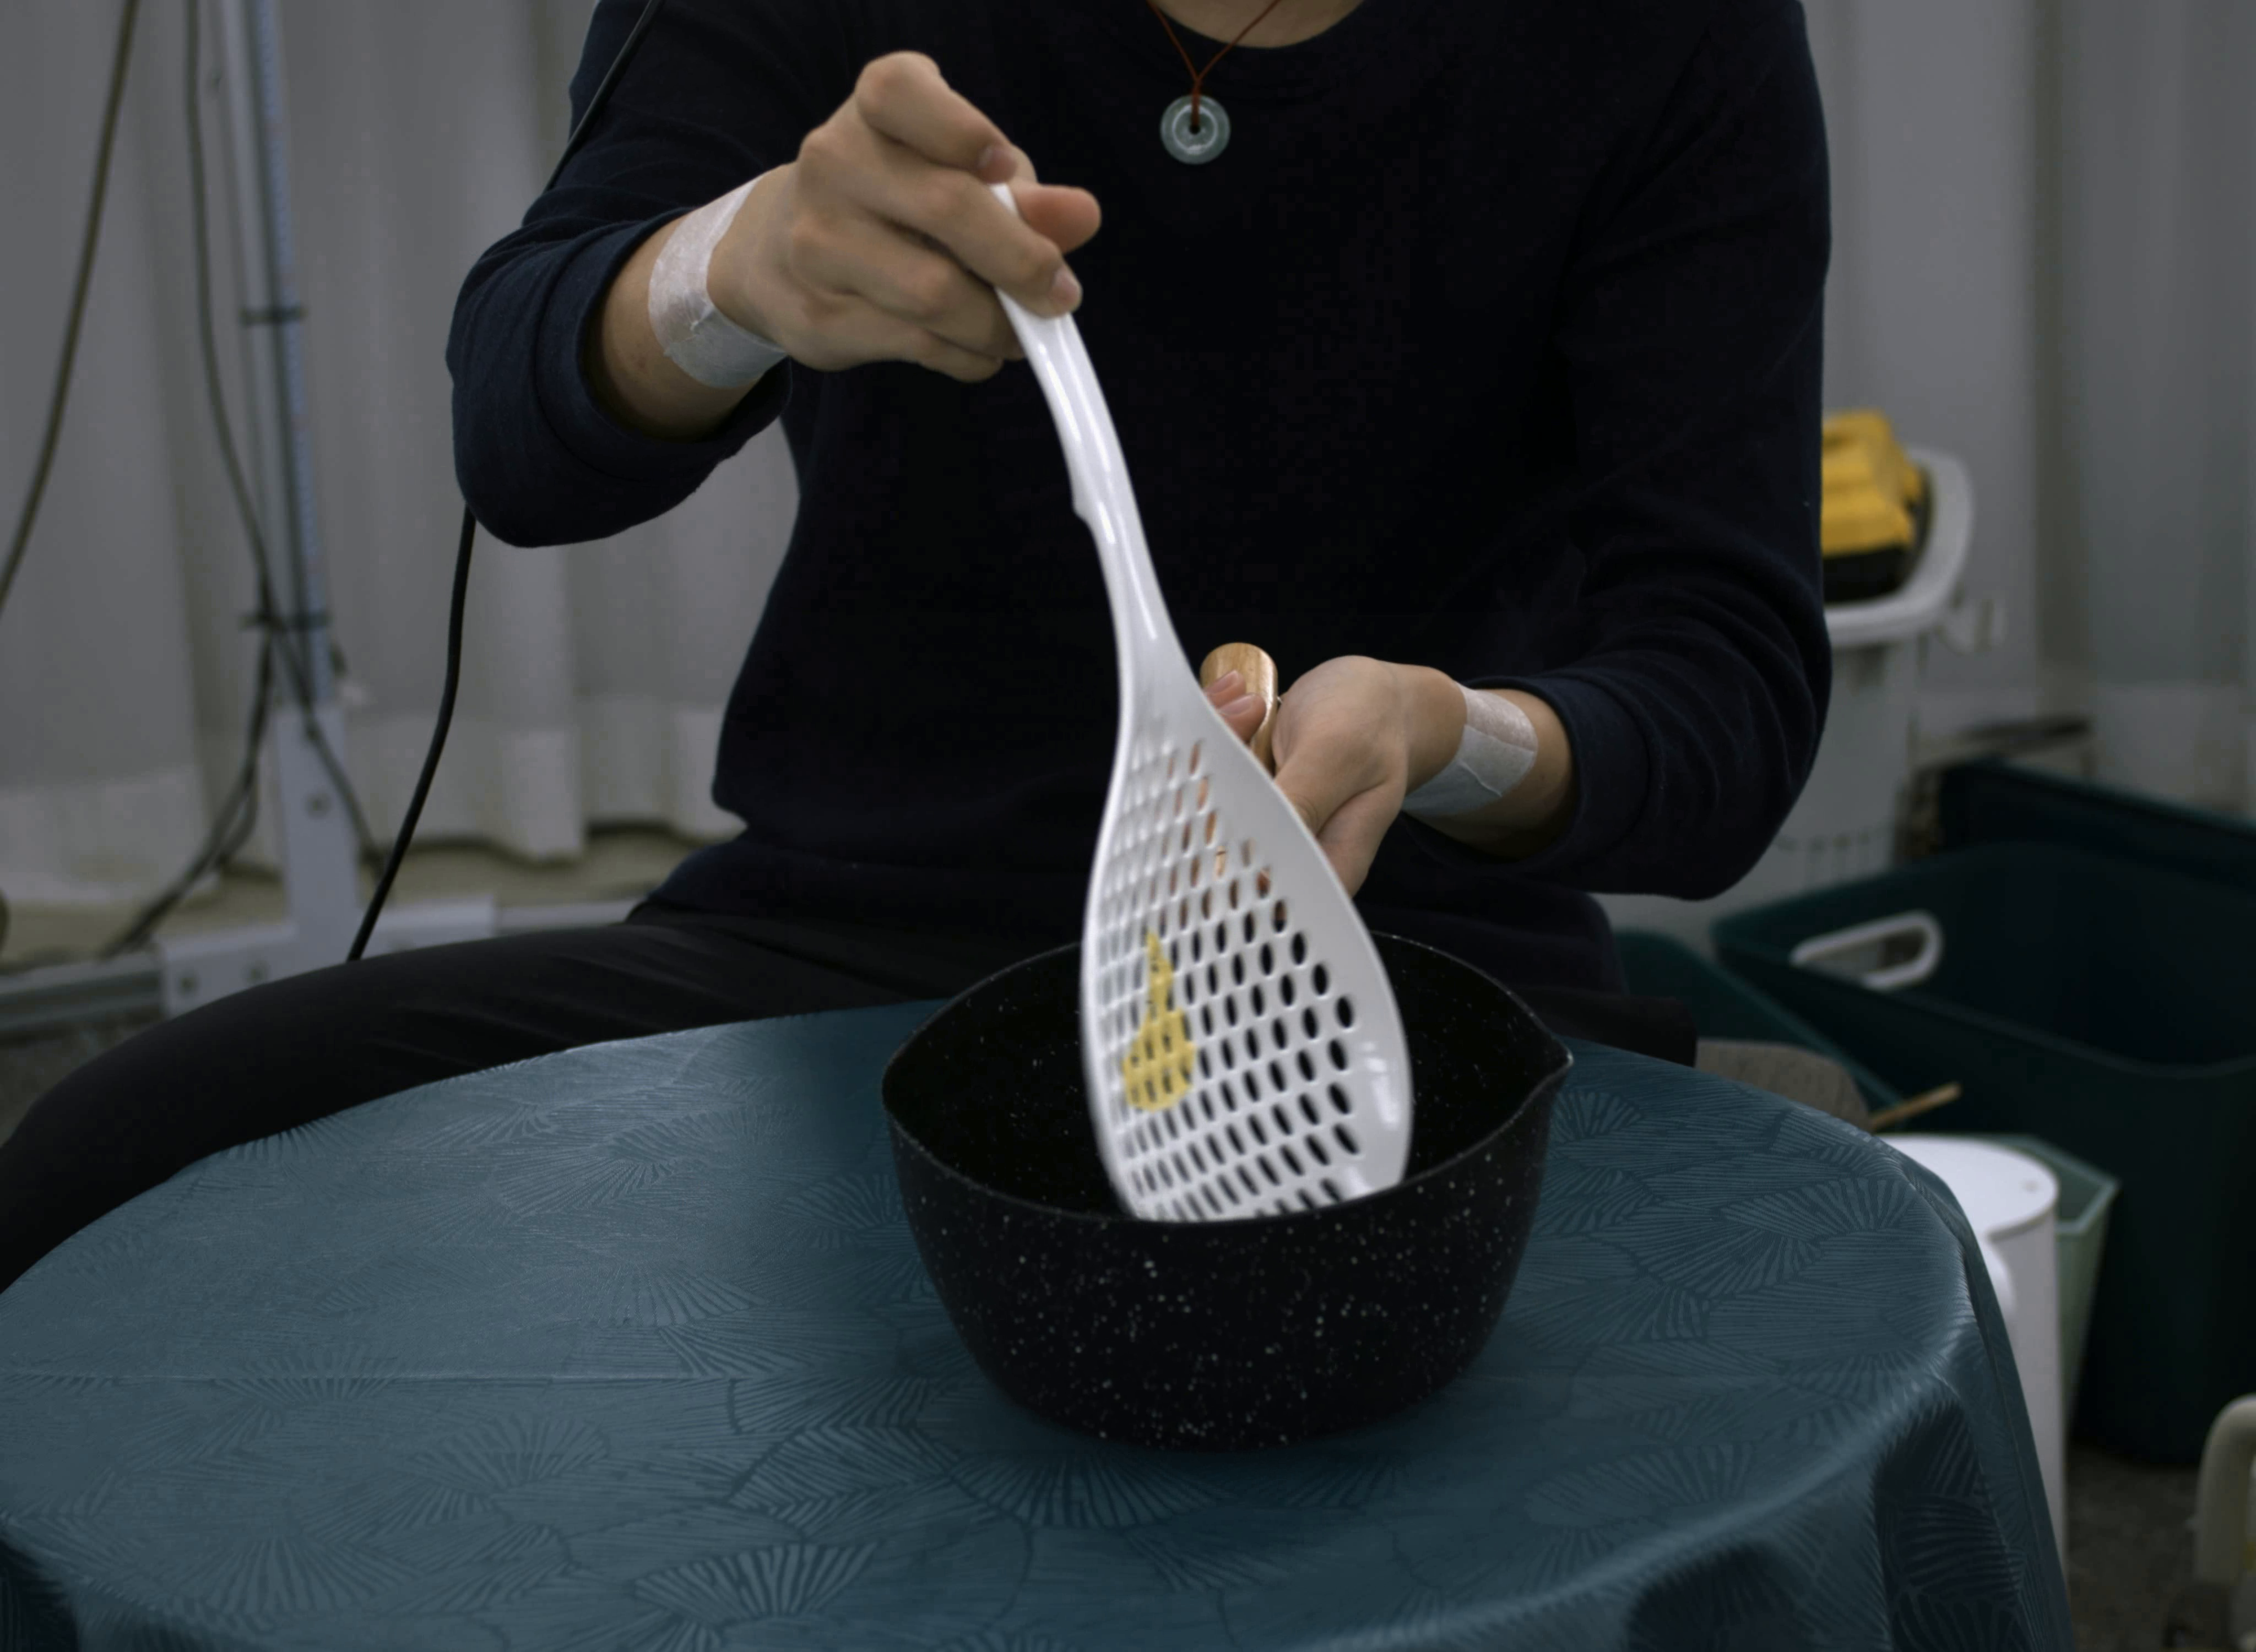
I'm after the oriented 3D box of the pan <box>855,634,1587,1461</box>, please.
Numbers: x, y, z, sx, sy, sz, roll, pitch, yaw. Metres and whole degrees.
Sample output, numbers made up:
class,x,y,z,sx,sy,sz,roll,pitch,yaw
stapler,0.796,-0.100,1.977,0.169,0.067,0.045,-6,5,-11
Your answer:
class,x,y,z,sx,sy,sz,roll,pitch,yaw
pan,0.029,0.060,1.614,0.207,0.107,0.346,-4,26,3

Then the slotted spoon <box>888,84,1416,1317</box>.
class,x,y,z,sx,sy,sz,roll,pitch,yaw
slotted spoon,-0.002,-0.035,1.489,0.050,0.347,0.137,-2,16,39
